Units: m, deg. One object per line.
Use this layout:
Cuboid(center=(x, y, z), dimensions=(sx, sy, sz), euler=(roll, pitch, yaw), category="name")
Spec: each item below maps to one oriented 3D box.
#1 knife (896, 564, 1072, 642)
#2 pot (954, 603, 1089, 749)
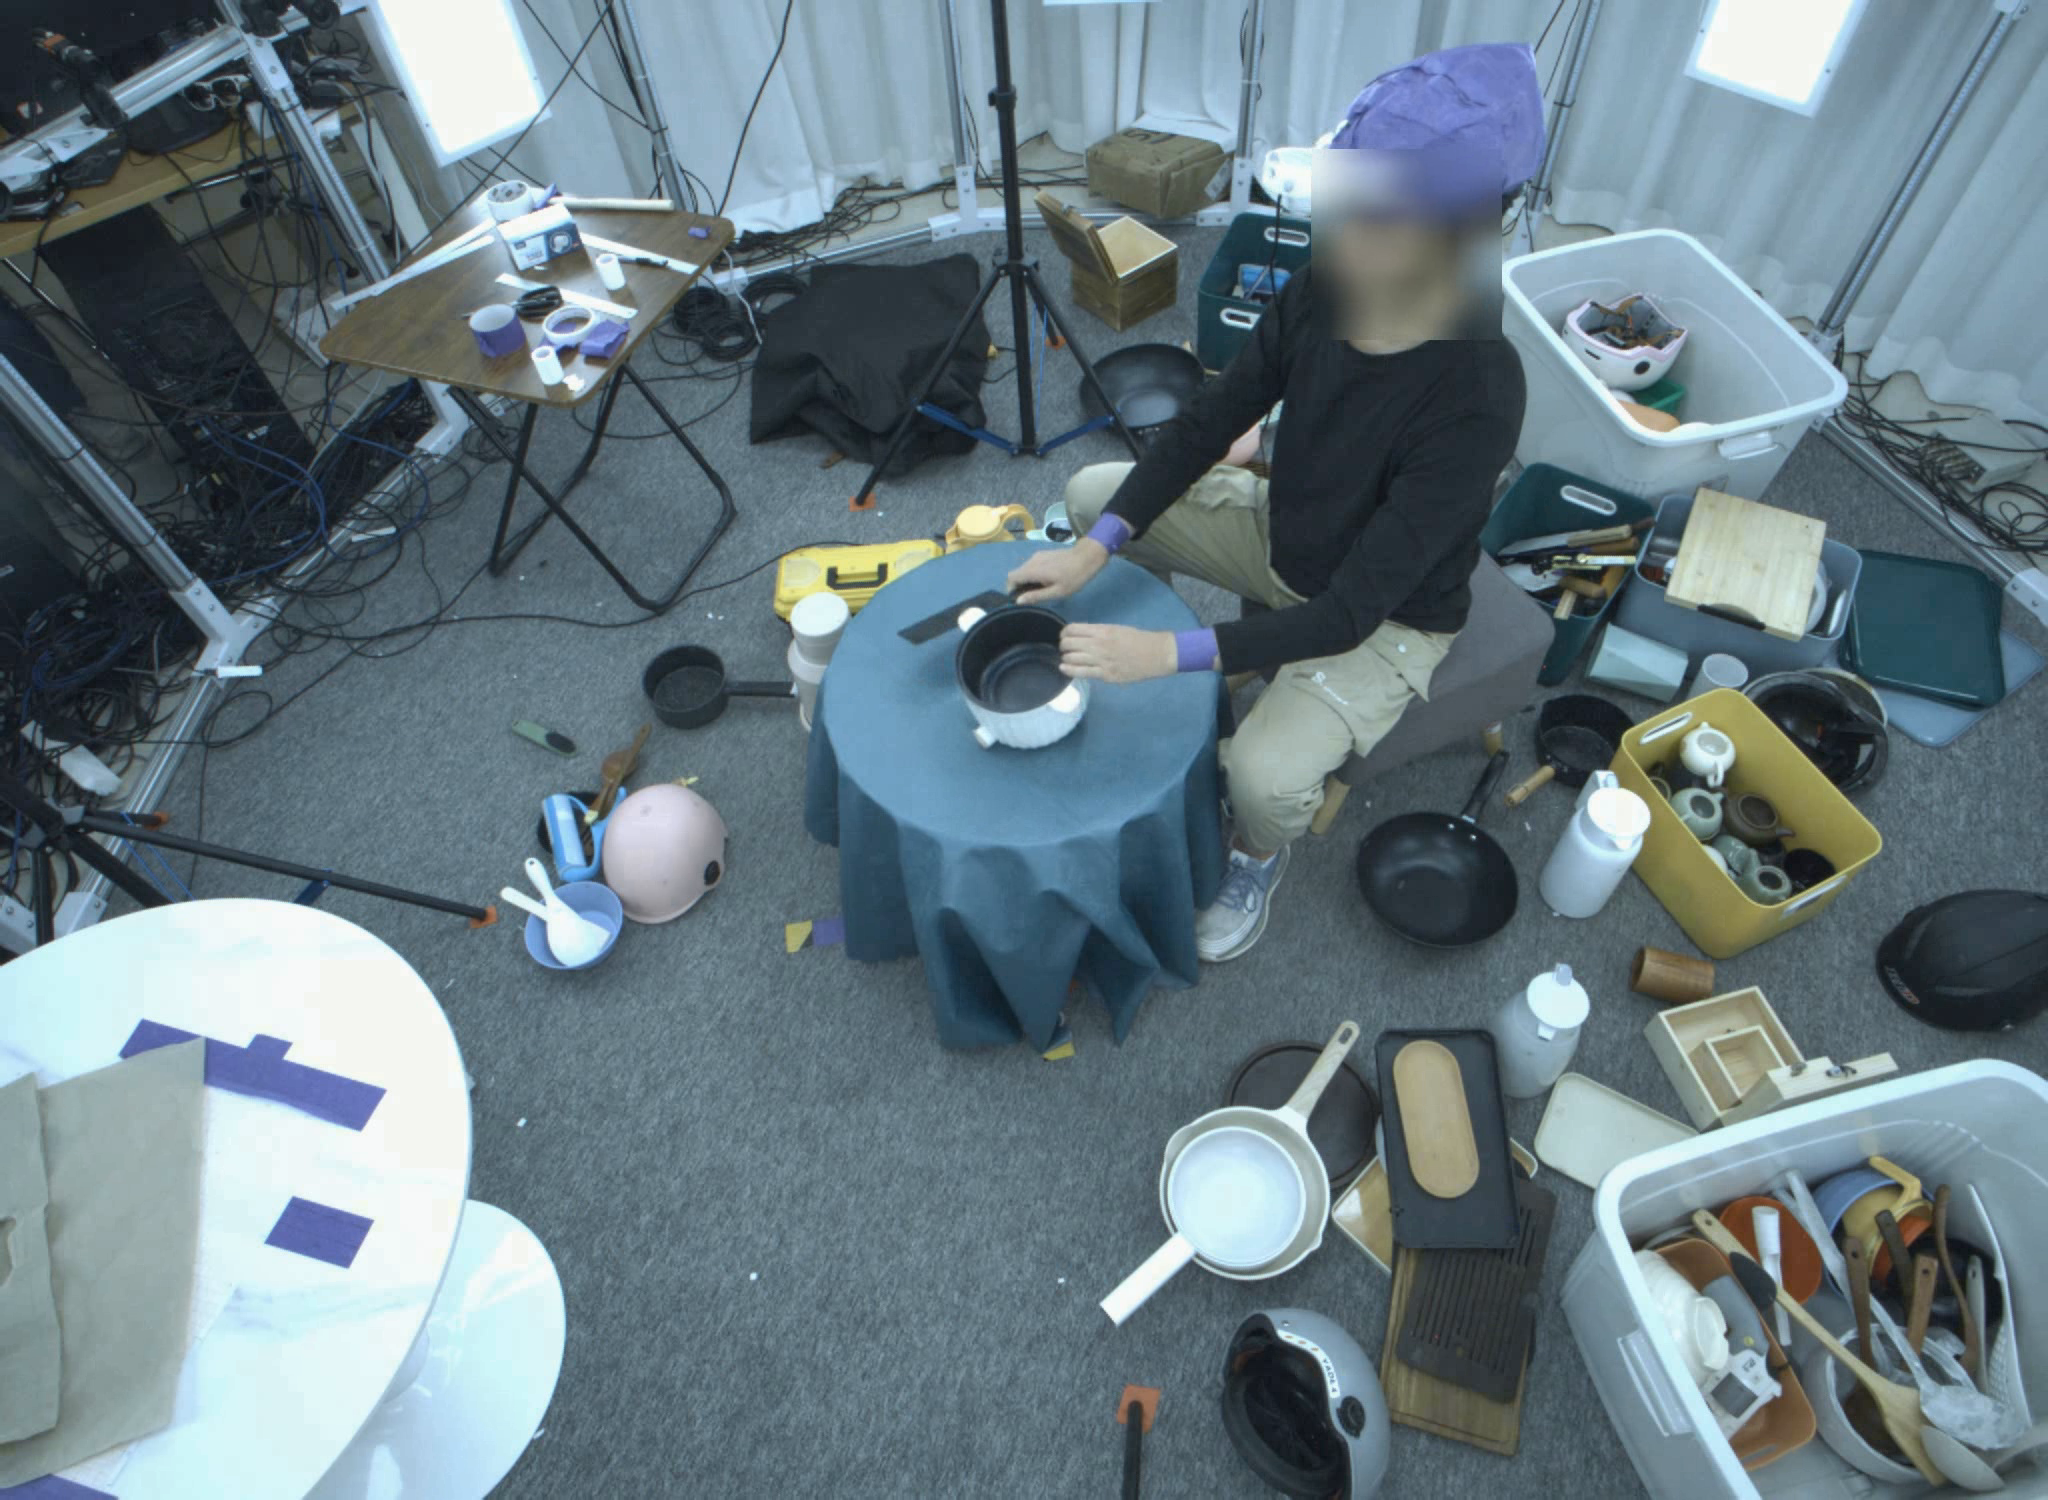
Cuboid(center=(-0.054, -0.227, 1.869), dimensions=(0.306, 0.021, 0.079), euler=(-24, 35, -23), category="knife")
Cuboid(center=(0.000, -0.093, 1.756), dimensions=(0.191, 0.144, 0.236), euler=(-41, 61, -15), category="pot")
